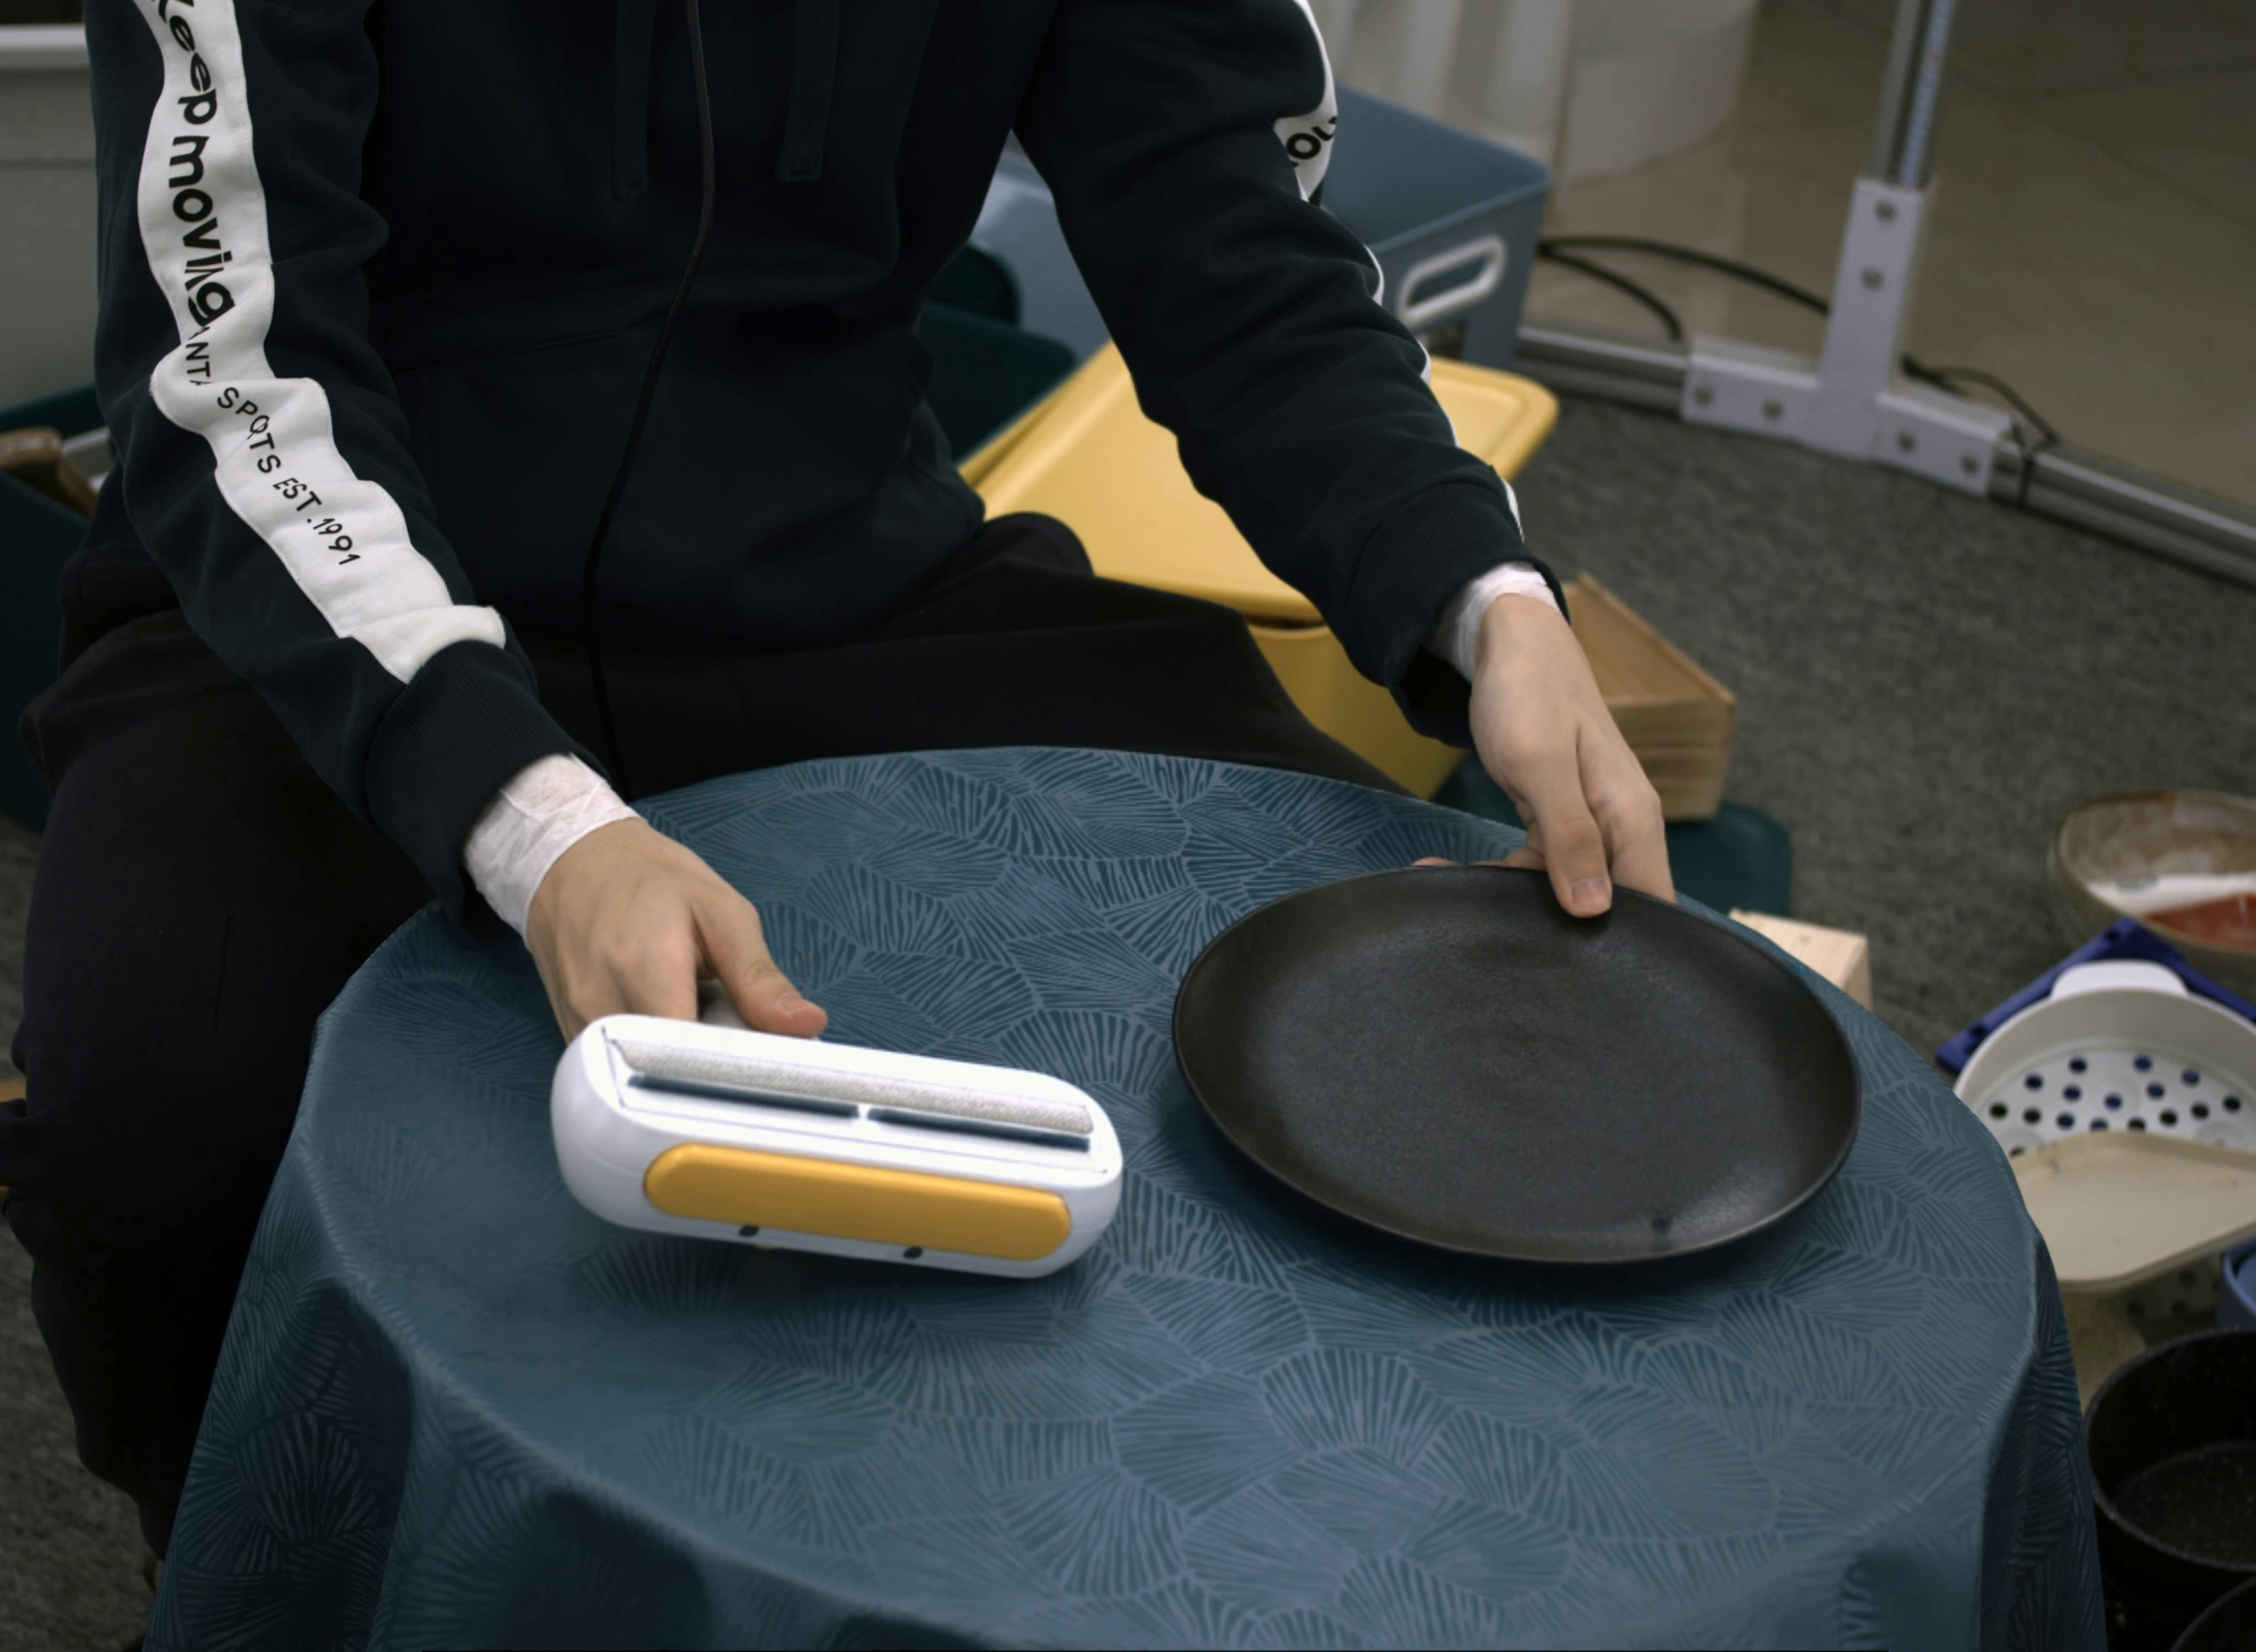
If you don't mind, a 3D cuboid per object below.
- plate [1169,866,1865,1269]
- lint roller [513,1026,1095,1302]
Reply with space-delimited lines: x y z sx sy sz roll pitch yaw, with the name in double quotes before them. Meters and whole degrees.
"plate" 0.135 0.088 1.857 0.243 0.023 0.246 3 32 -2
"lint roller" -0.120 0.102 1.779 0.191 0.074 0.193 8 12 -16
